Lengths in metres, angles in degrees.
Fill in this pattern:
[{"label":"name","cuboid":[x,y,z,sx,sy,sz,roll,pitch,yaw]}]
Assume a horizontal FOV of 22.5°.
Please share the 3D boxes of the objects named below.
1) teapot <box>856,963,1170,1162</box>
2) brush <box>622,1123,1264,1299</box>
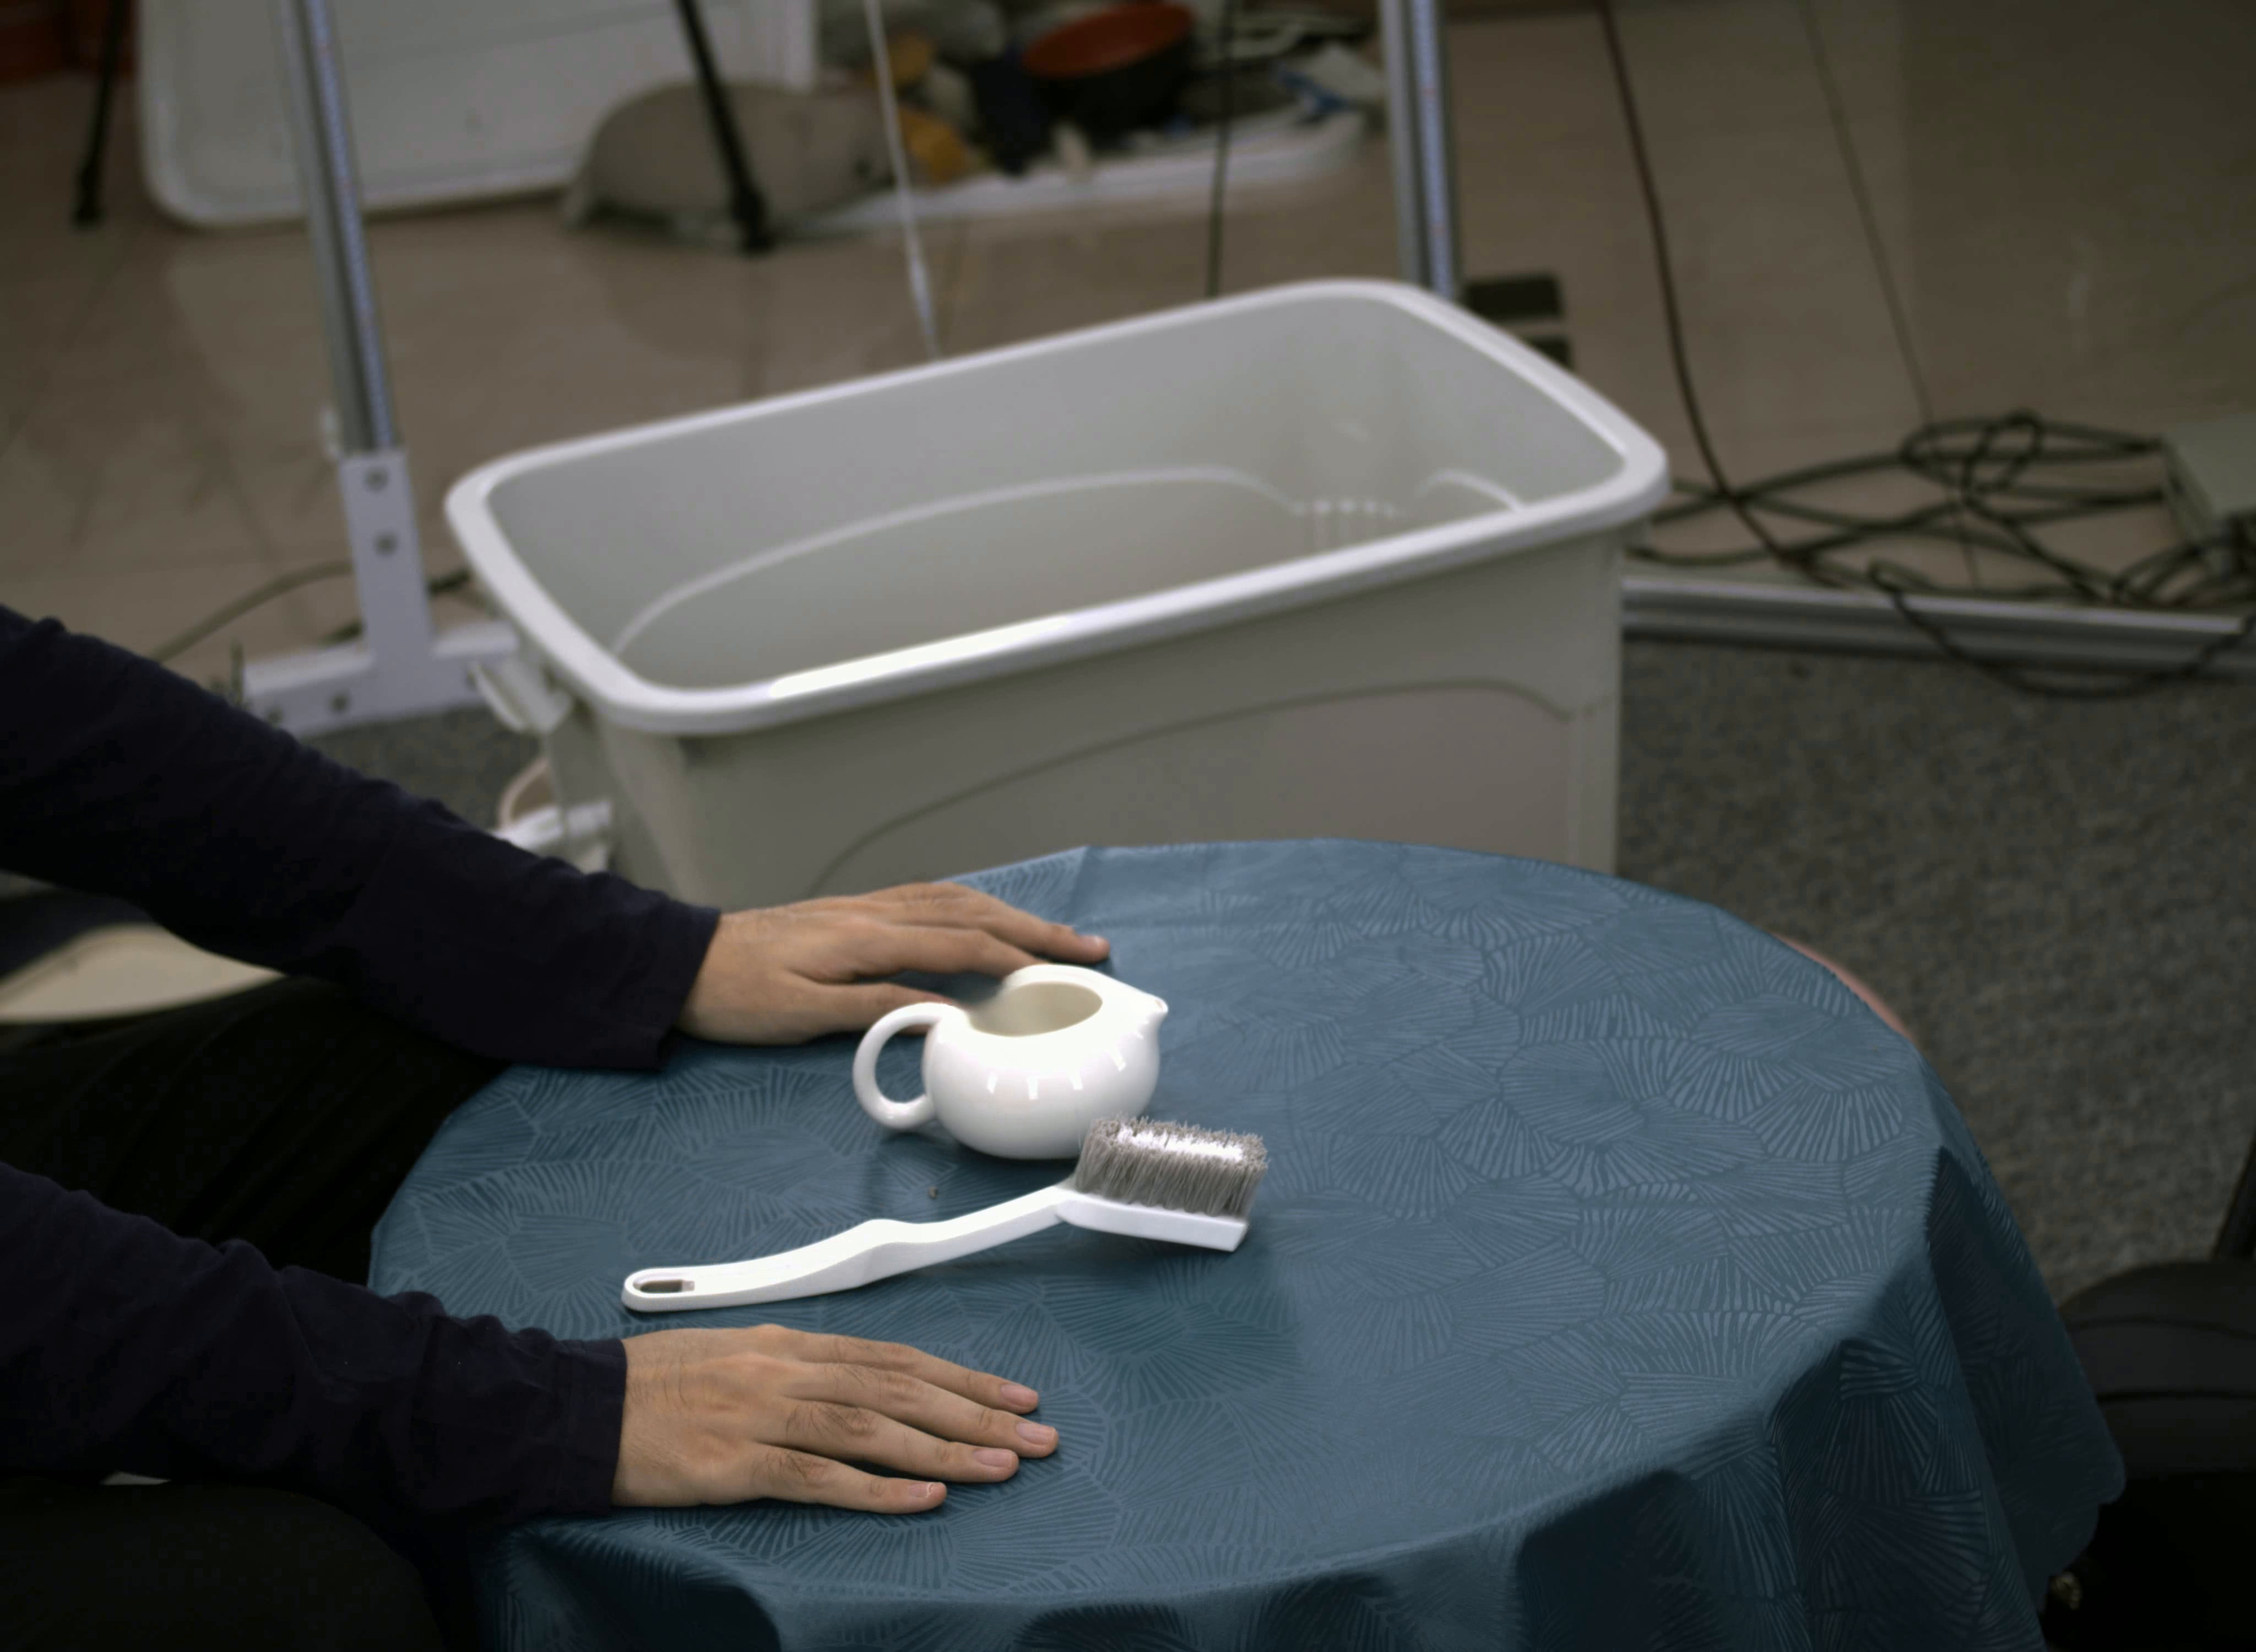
[{"label":"teapot","cuboid":[-0.044,0.093,2.194,0.127,0.057,0.092,-6,30,7]},{"label":"brush","cuboid":[-0.070,0.142,2.102,0.243,0.051,0.034,-5,30,3]}]
